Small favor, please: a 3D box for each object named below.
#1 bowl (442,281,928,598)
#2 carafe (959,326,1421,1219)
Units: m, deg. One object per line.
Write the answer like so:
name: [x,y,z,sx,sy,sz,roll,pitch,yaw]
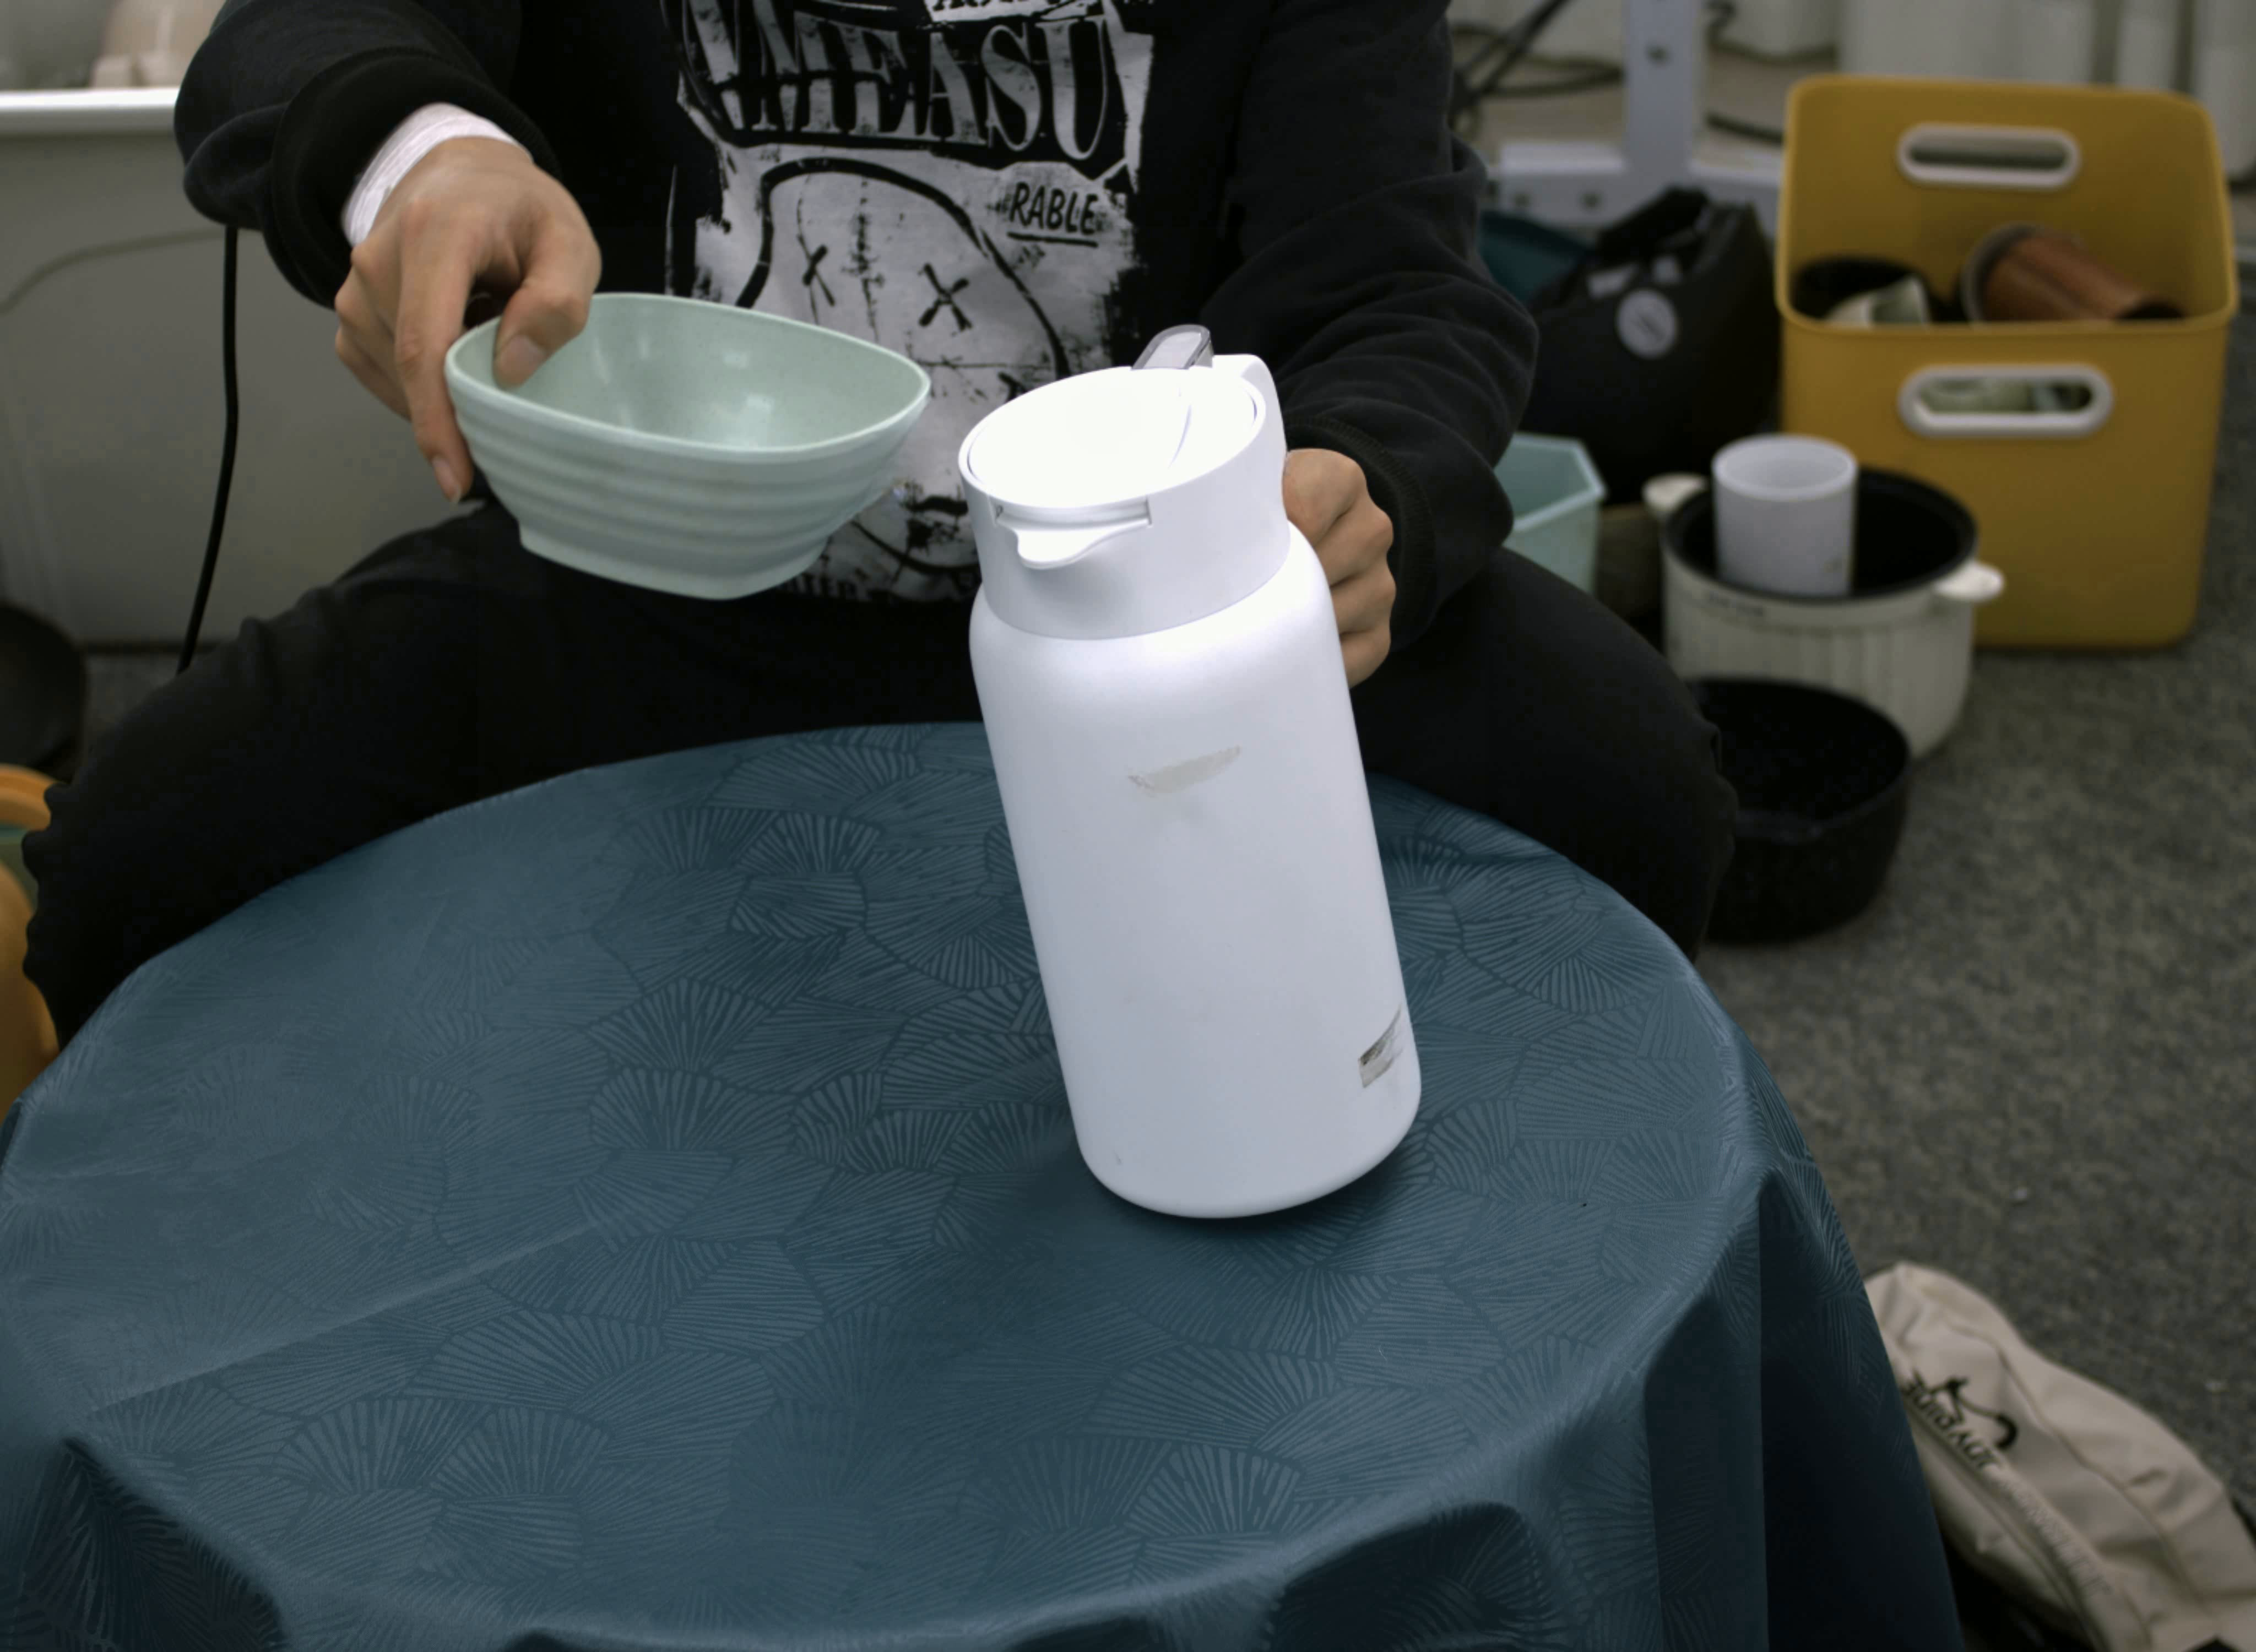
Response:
bowl: [-0.137,-0.115,1.727,0.151,0.058,0.153,7,23,-2]
carafe: [0.022,-0.021,1.833,0.123,0.266,0.176,-2,29,22]
